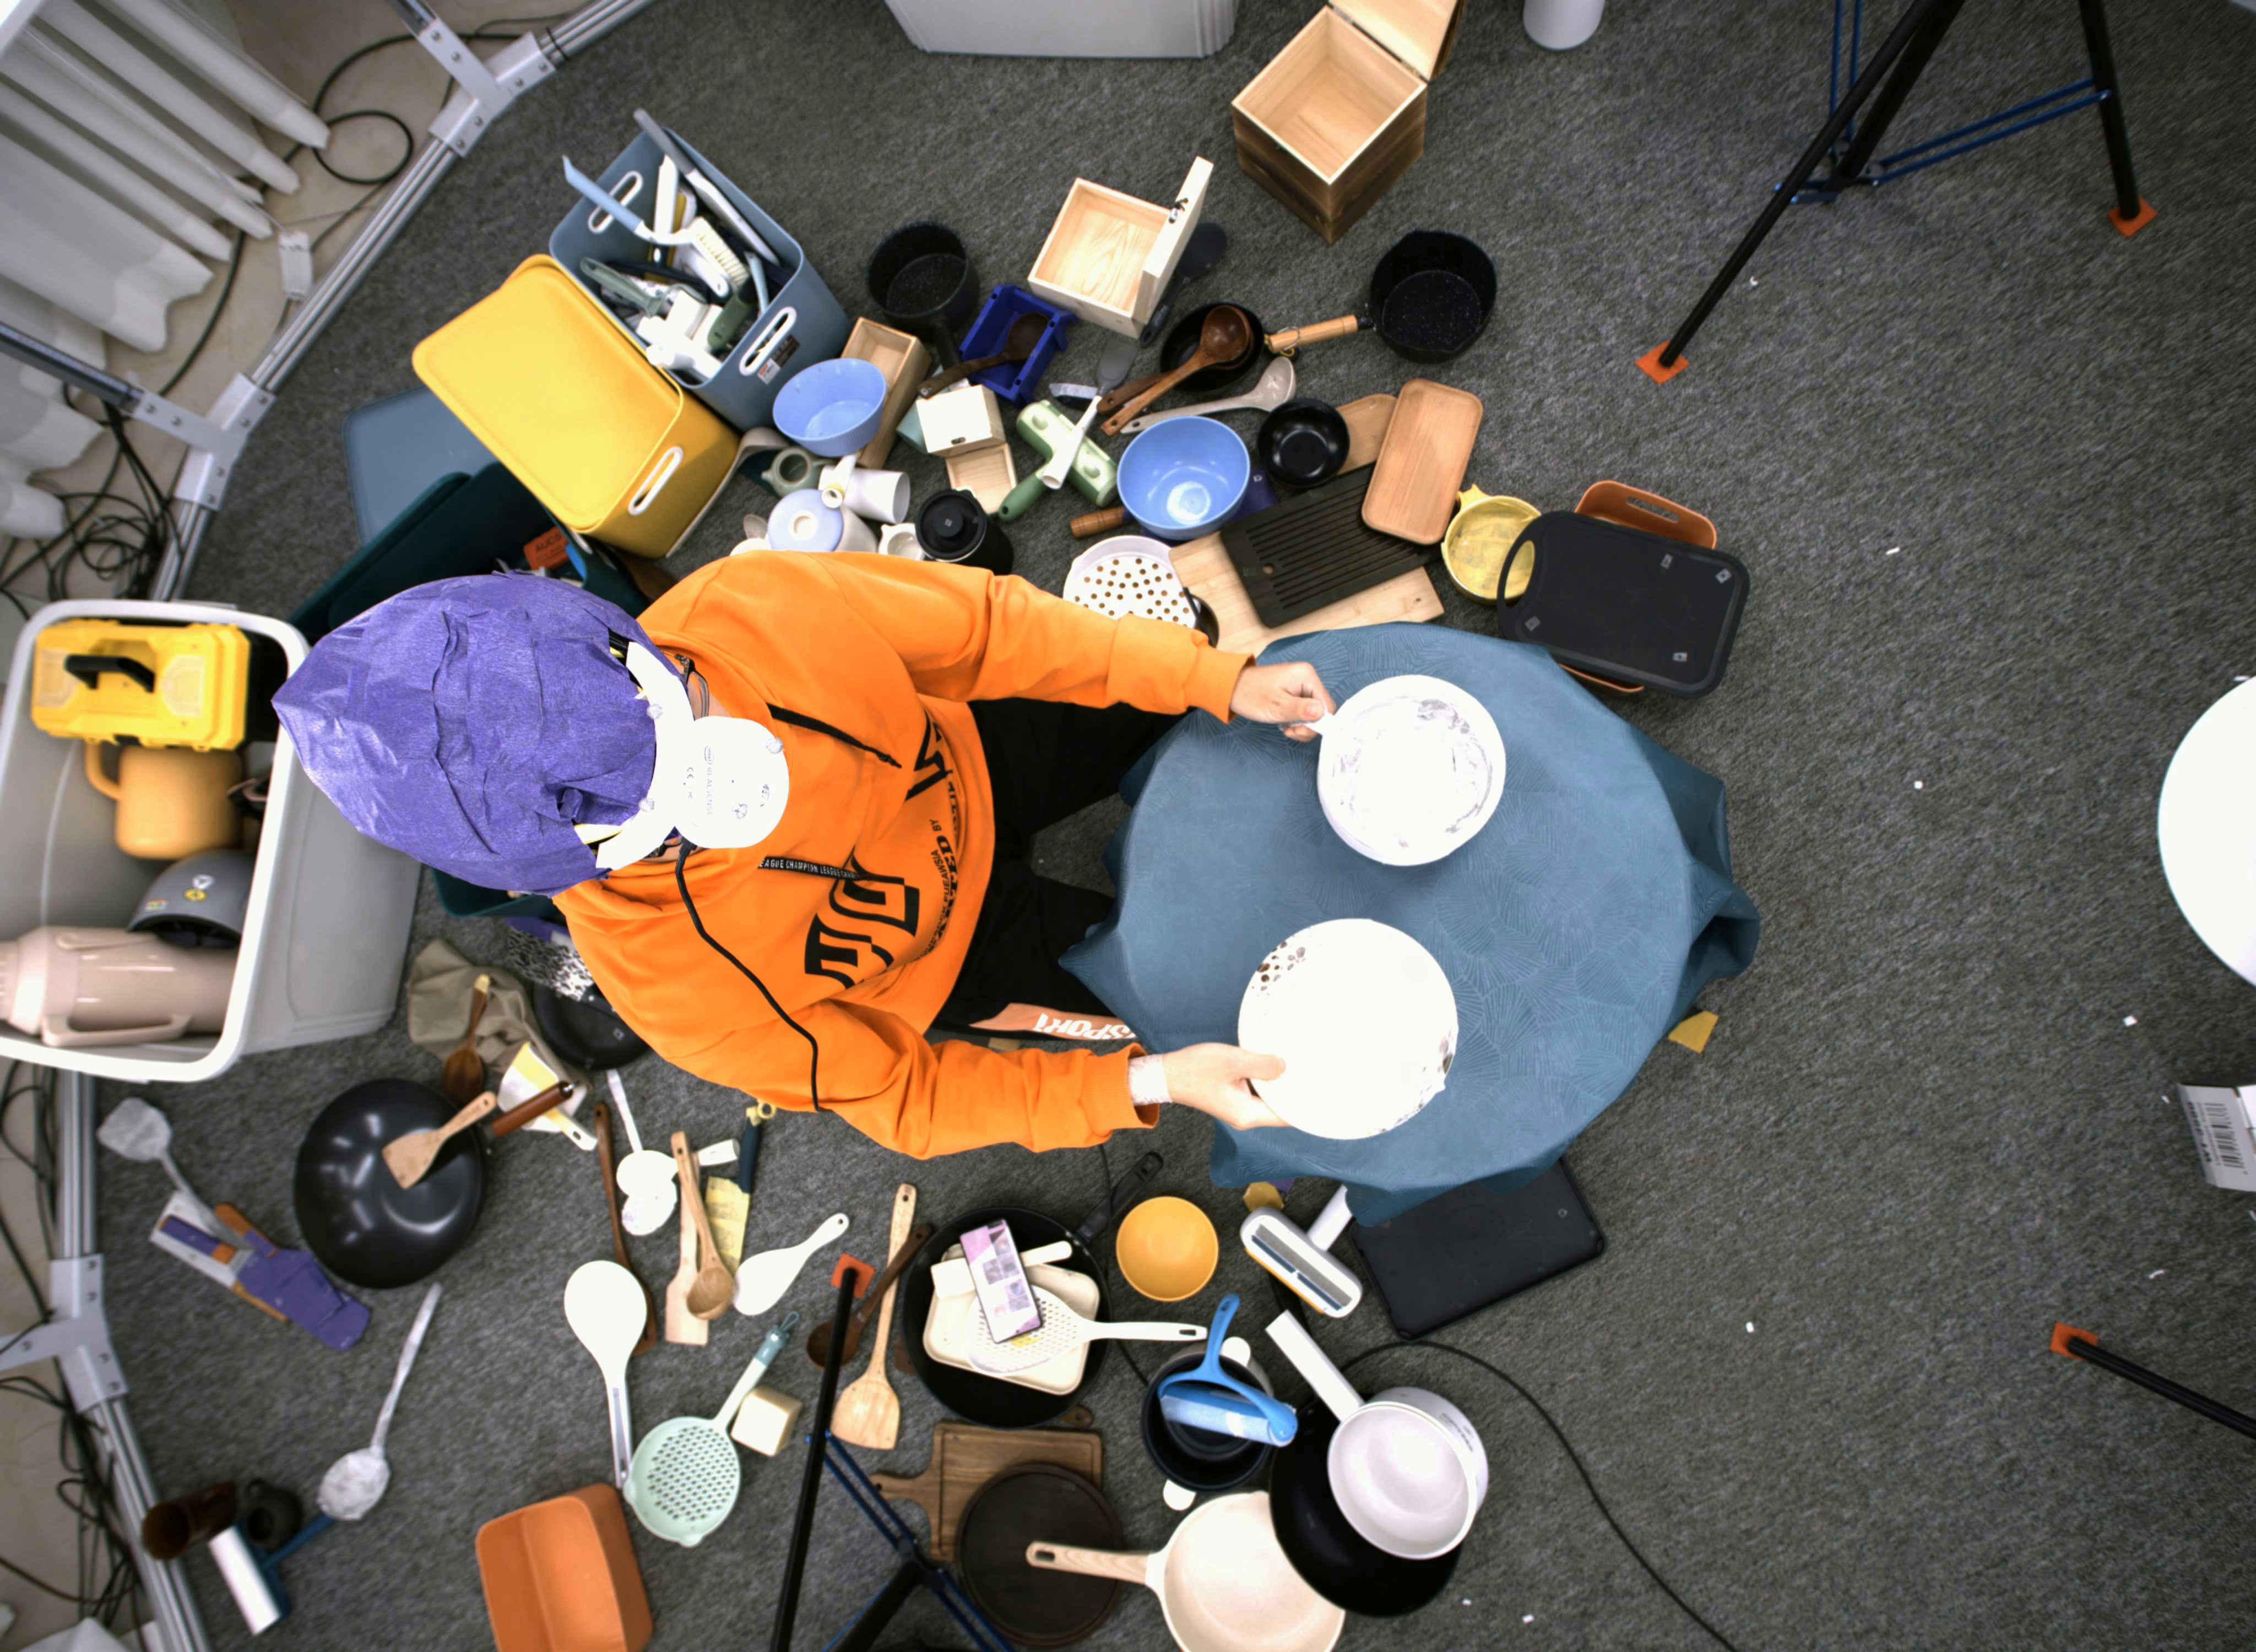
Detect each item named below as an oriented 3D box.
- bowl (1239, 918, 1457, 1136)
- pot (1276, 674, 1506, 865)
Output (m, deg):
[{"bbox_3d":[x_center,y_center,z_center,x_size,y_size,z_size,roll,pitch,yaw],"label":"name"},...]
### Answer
[{"bbox_3d":[0.211,0.191,1.287,0.206,0.078,0.200,-9,67,22],"label":"bowl"},{"bbox_3d":[0.254,-0.066,1.380,0.233,0.137,0.178,29,89,8],"label":"pot"}]
